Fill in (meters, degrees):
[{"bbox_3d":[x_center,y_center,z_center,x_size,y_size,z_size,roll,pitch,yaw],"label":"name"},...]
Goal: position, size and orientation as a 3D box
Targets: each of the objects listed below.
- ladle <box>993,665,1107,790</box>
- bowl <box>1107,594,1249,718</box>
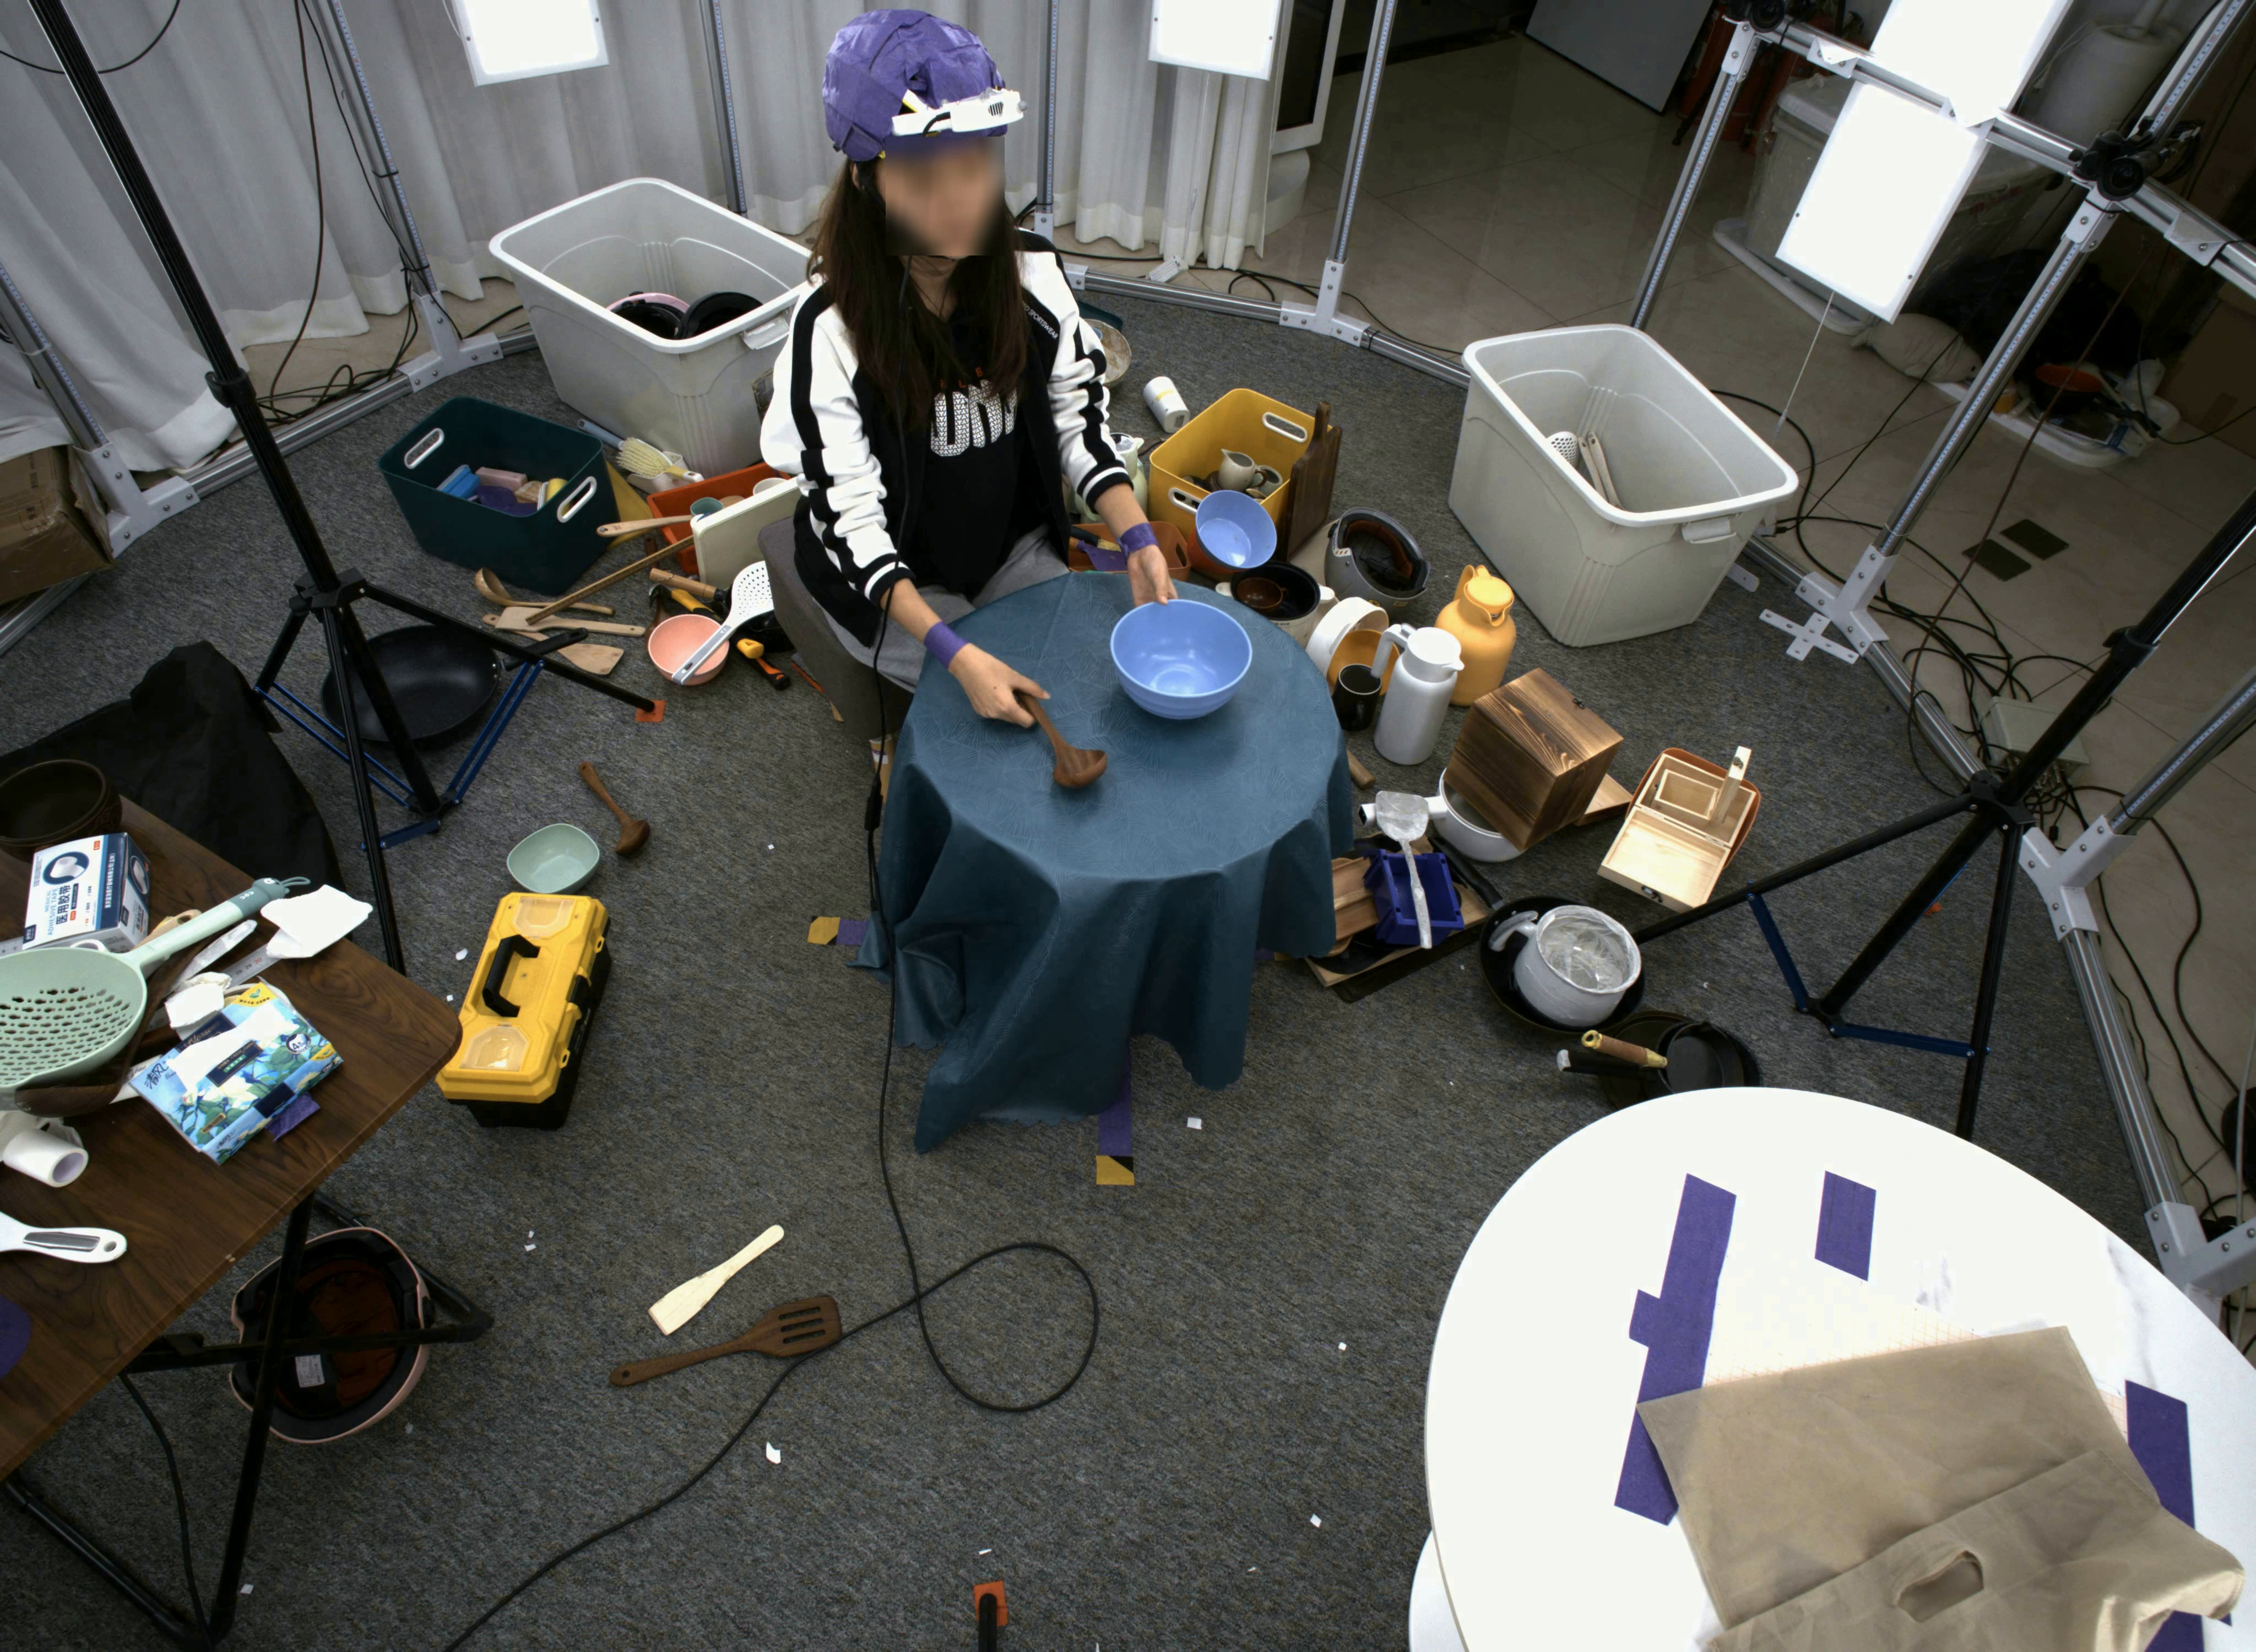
[{"bbox_3d":[-0.115,-0.145,1.741,0.077,0.063,0.265,-27,60,-18],"label":"ladle"},{"bbox_3d":[0.068,-0.224,1.809,0.196,0.093,0.201,1,55,-1],"label":"bowl"}]
